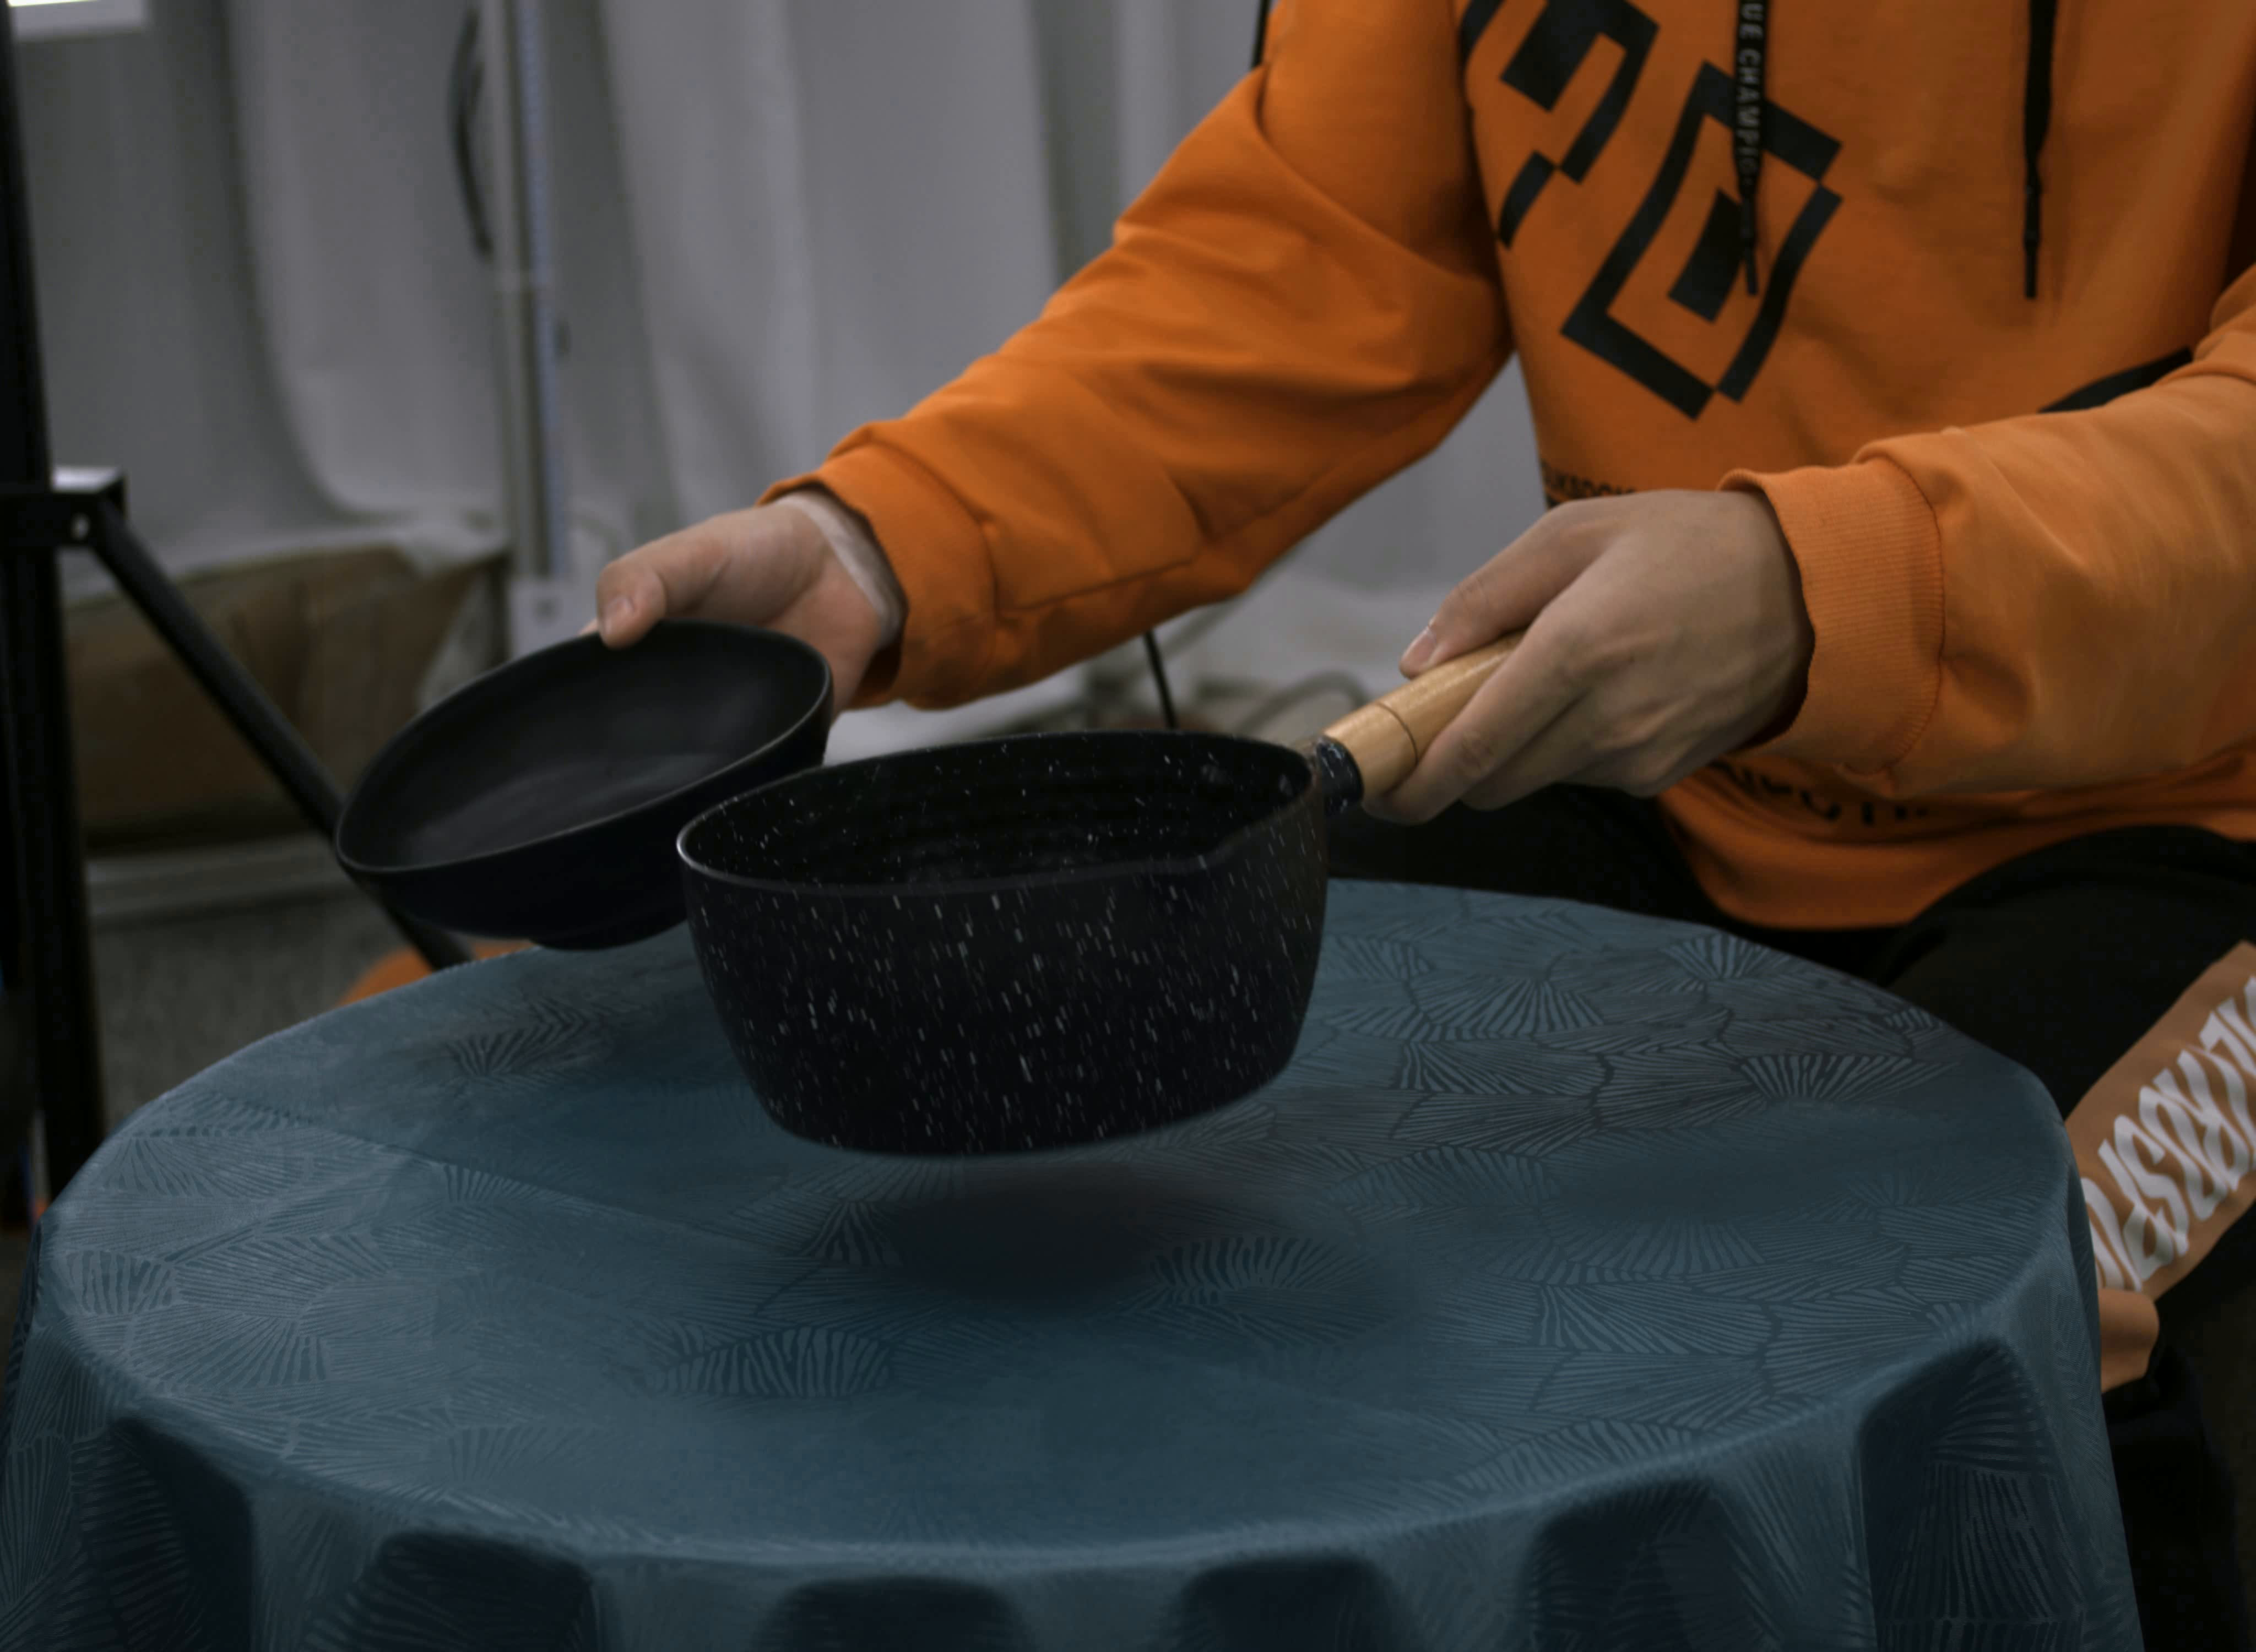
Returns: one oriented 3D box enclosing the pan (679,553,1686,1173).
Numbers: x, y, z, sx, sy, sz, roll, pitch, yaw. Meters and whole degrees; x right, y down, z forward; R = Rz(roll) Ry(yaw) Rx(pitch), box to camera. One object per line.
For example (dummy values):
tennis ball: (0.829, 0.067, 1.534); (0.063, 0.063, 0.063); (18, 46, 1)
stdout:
pan: (0.031, 0.008, 1.553); (0.335, 0.108, 0.212); (-16, 16, -32)

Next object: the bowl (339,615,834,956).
bowl: (-0.169, -0.002, 1.723); (0.169, 0.066, 0.140); (-22, 28, -8)
